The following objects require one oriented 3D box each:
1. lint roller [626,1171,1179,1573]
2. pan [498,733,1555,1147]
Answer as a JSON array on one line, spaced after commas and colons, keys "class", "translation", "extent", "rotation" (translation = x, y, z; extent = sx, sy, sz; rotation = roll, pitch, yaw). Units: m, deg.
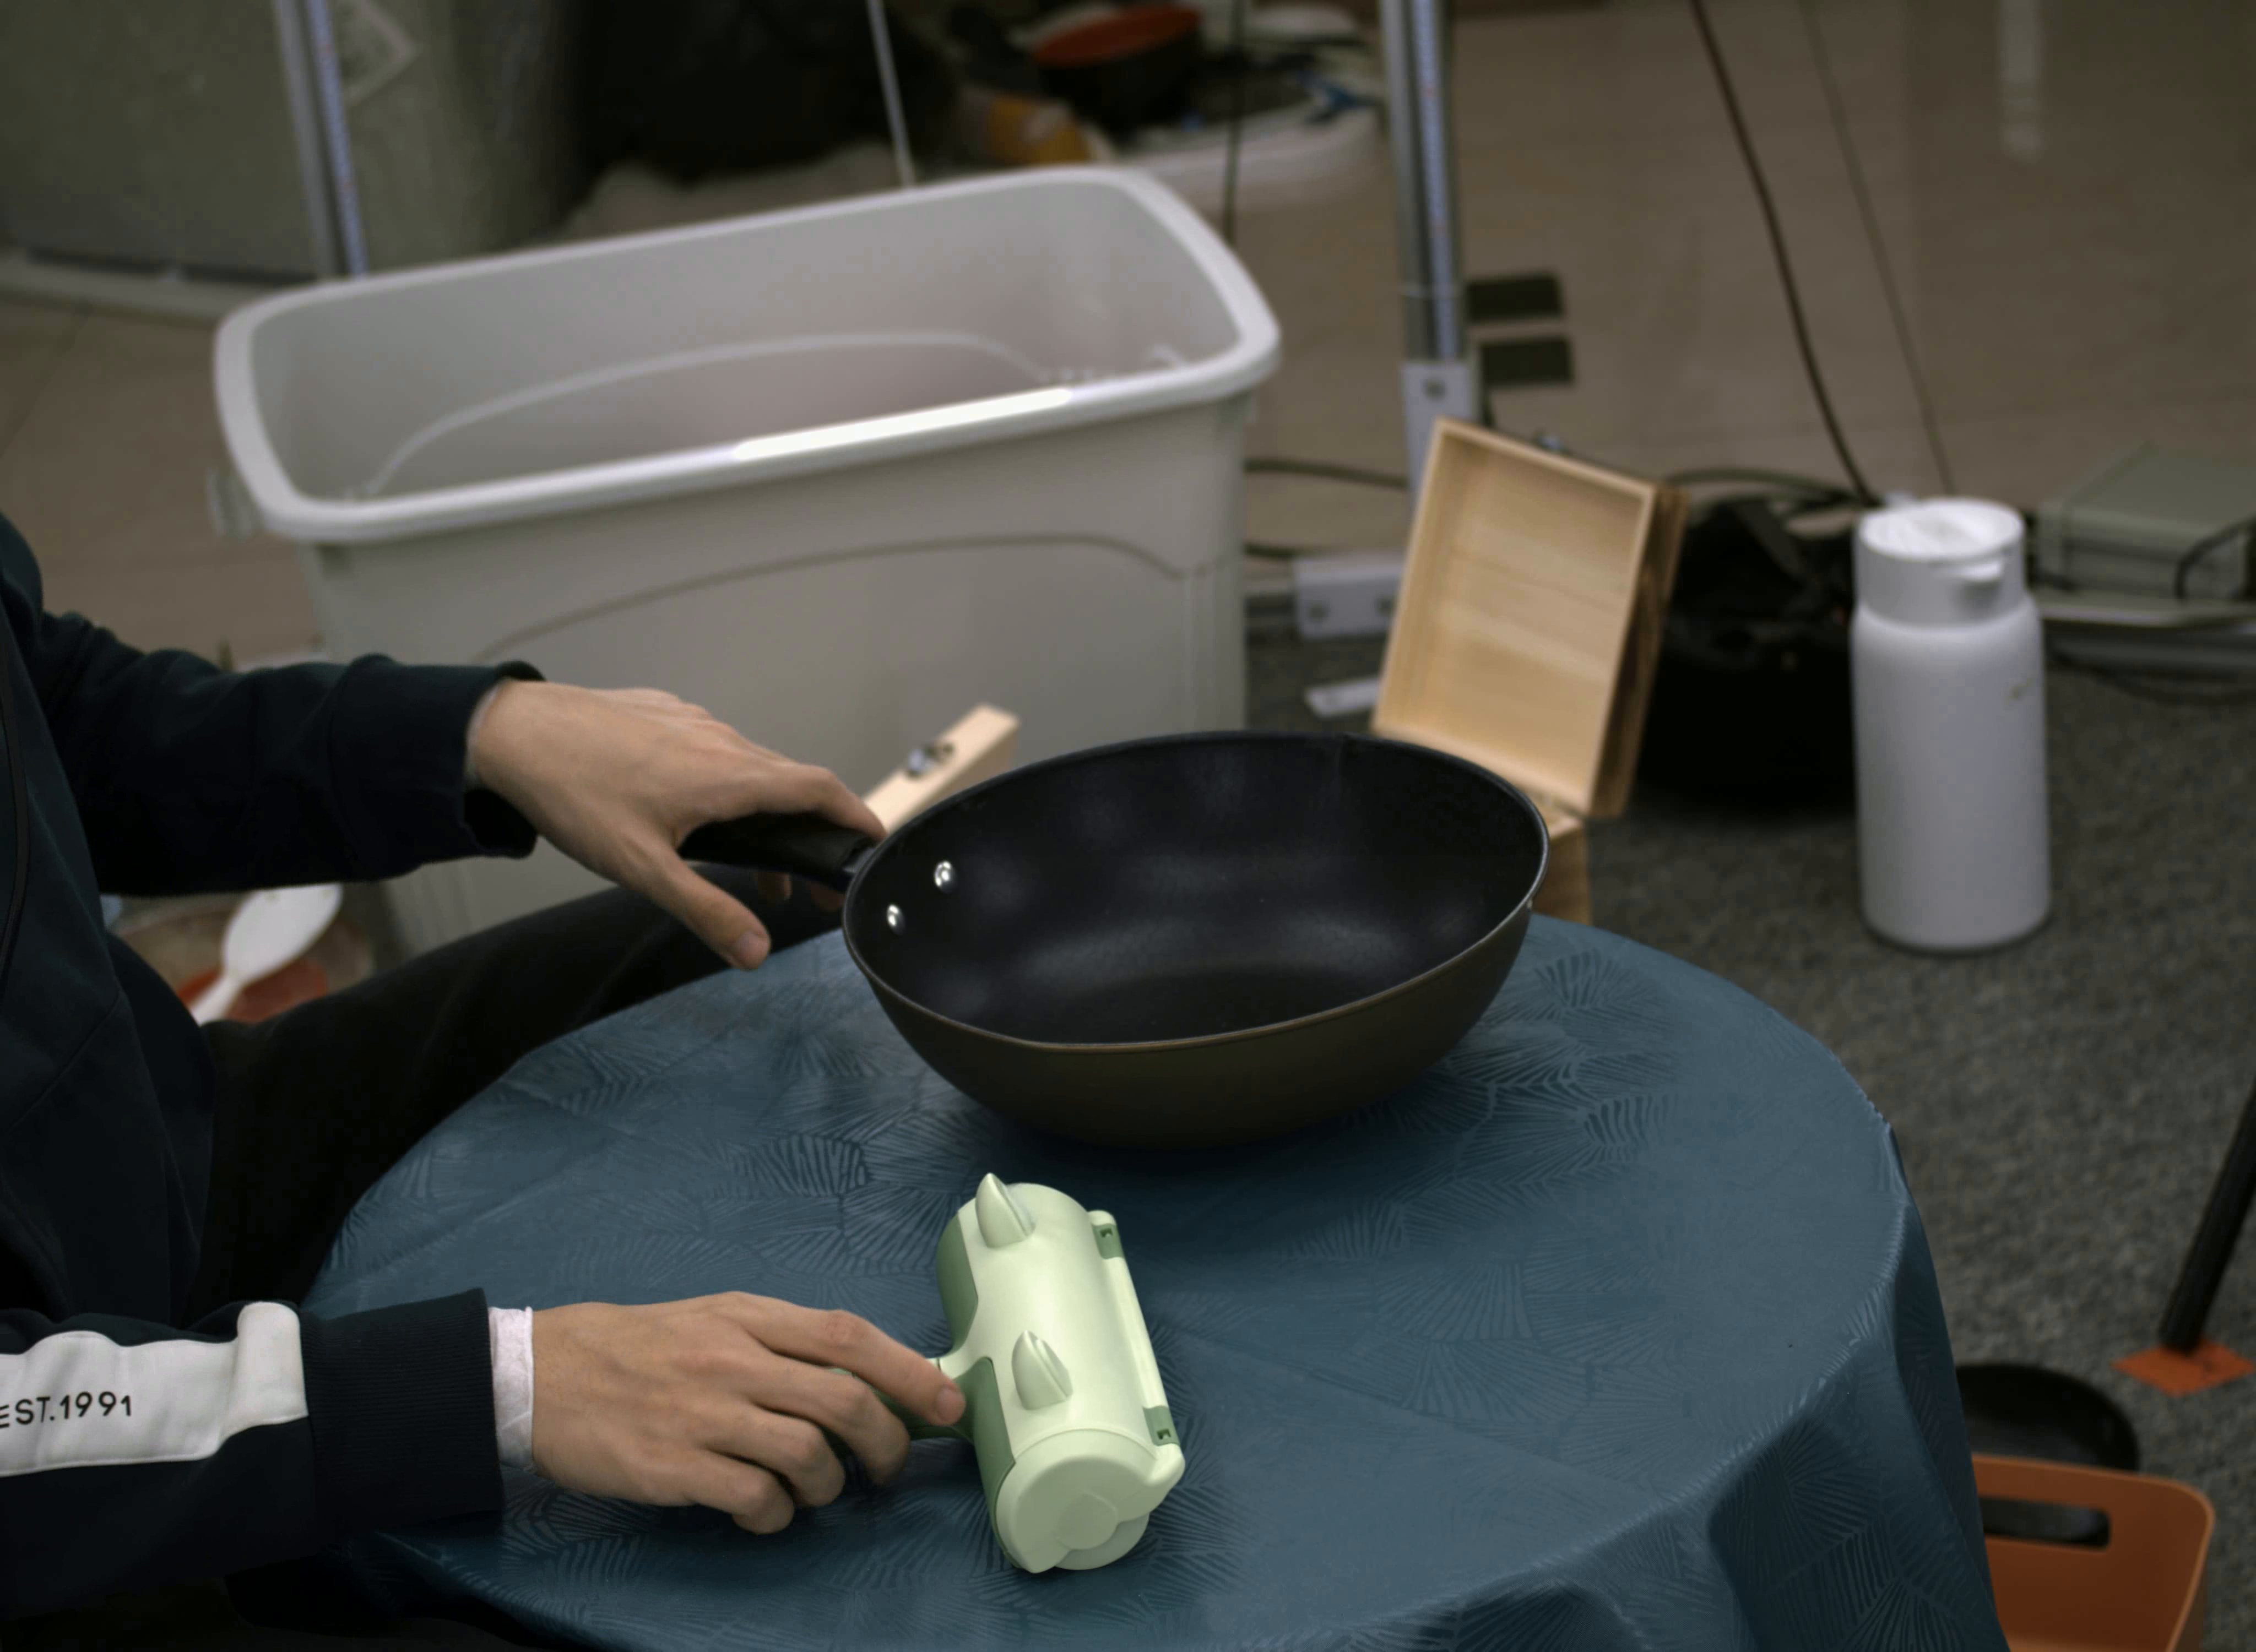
[{"class": "lint roller", "translation": [-0.084, 0.187, 1.972], "extent": [0.183, 0.083, 0.196], "rotation": [-4, 25, -6]}, {"class": "pan", "translation": [-0.051, 0.046, 2.256], "extent": [0.462, 0.088, 0.284], "rotation": [5, 27, 26]}]
